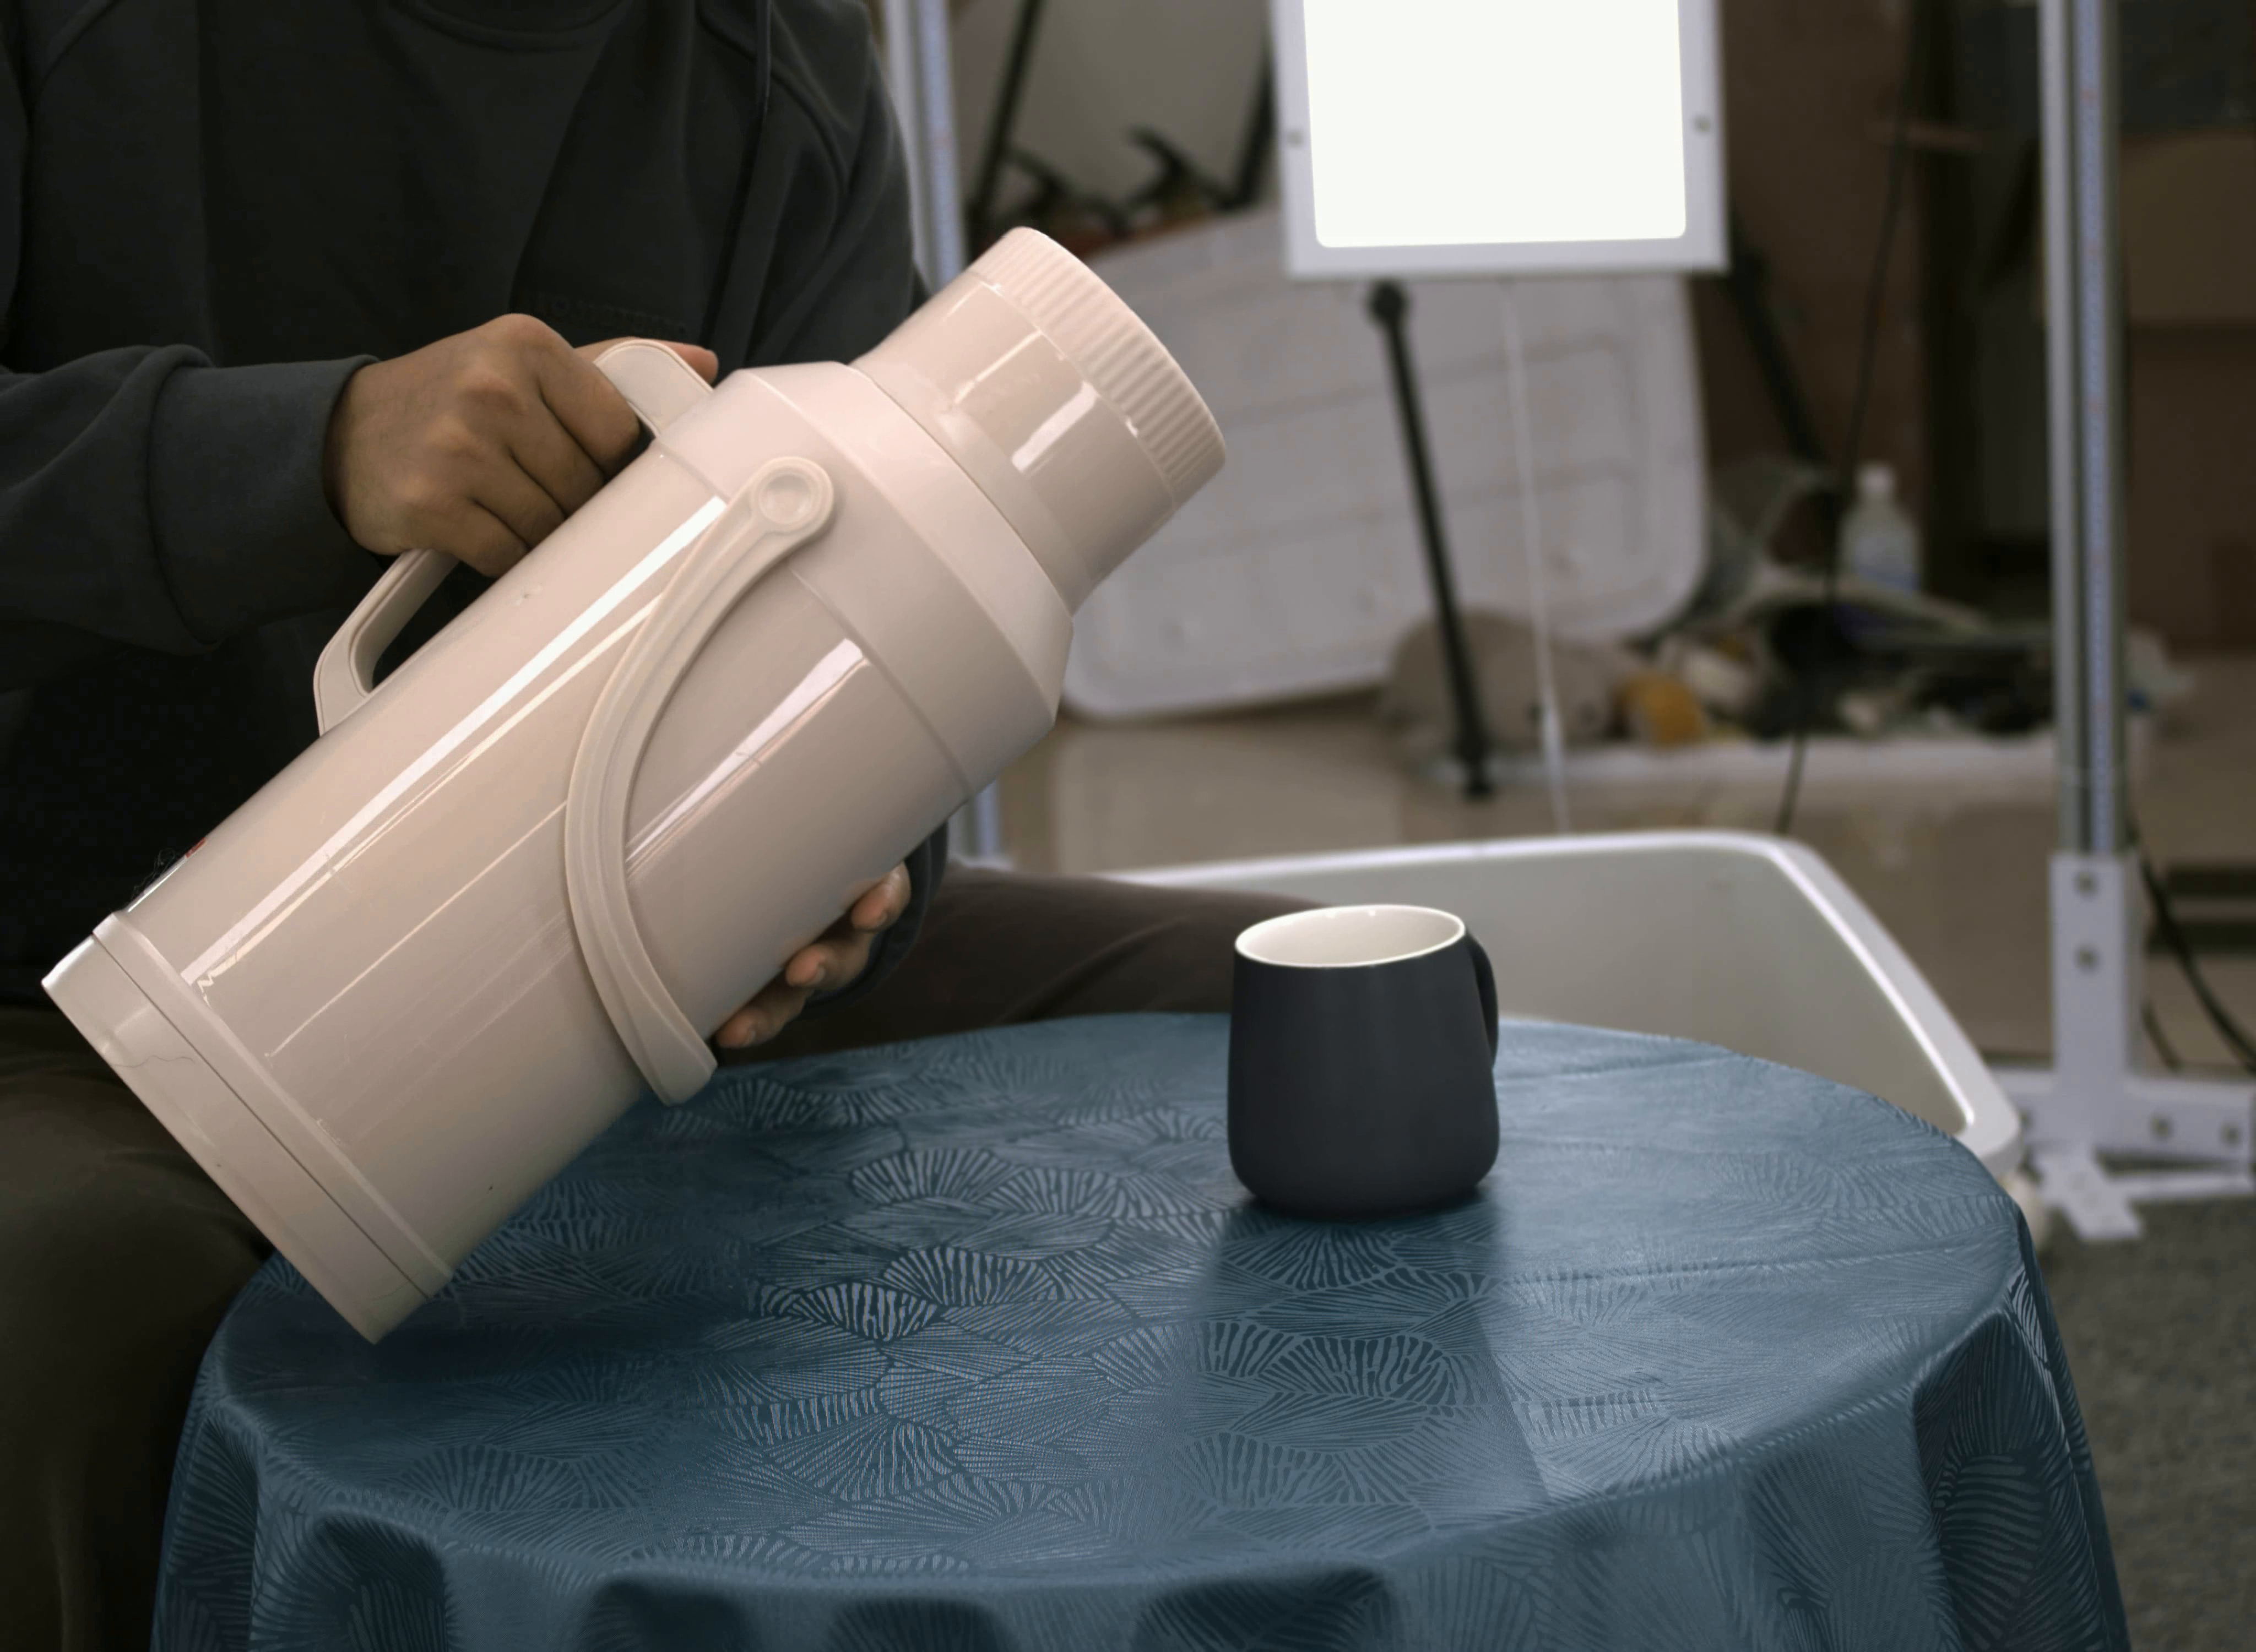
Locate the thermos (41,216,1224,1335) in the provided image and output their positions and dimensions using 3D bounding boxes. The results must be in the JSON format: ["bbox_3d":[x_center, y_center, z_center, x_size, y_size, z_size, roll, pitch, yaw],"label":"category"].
[{"bbox_3d":[-0.159,-0.036,1.787,0.404,0.209,0.174,-42,-20,-5],"label":"thermos"}]

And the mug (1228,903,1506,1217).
[{"bbox_3d":[0.089,0.076,1.882,0.095,0.090,0.120,7,18,41],"label":"mug"}]
